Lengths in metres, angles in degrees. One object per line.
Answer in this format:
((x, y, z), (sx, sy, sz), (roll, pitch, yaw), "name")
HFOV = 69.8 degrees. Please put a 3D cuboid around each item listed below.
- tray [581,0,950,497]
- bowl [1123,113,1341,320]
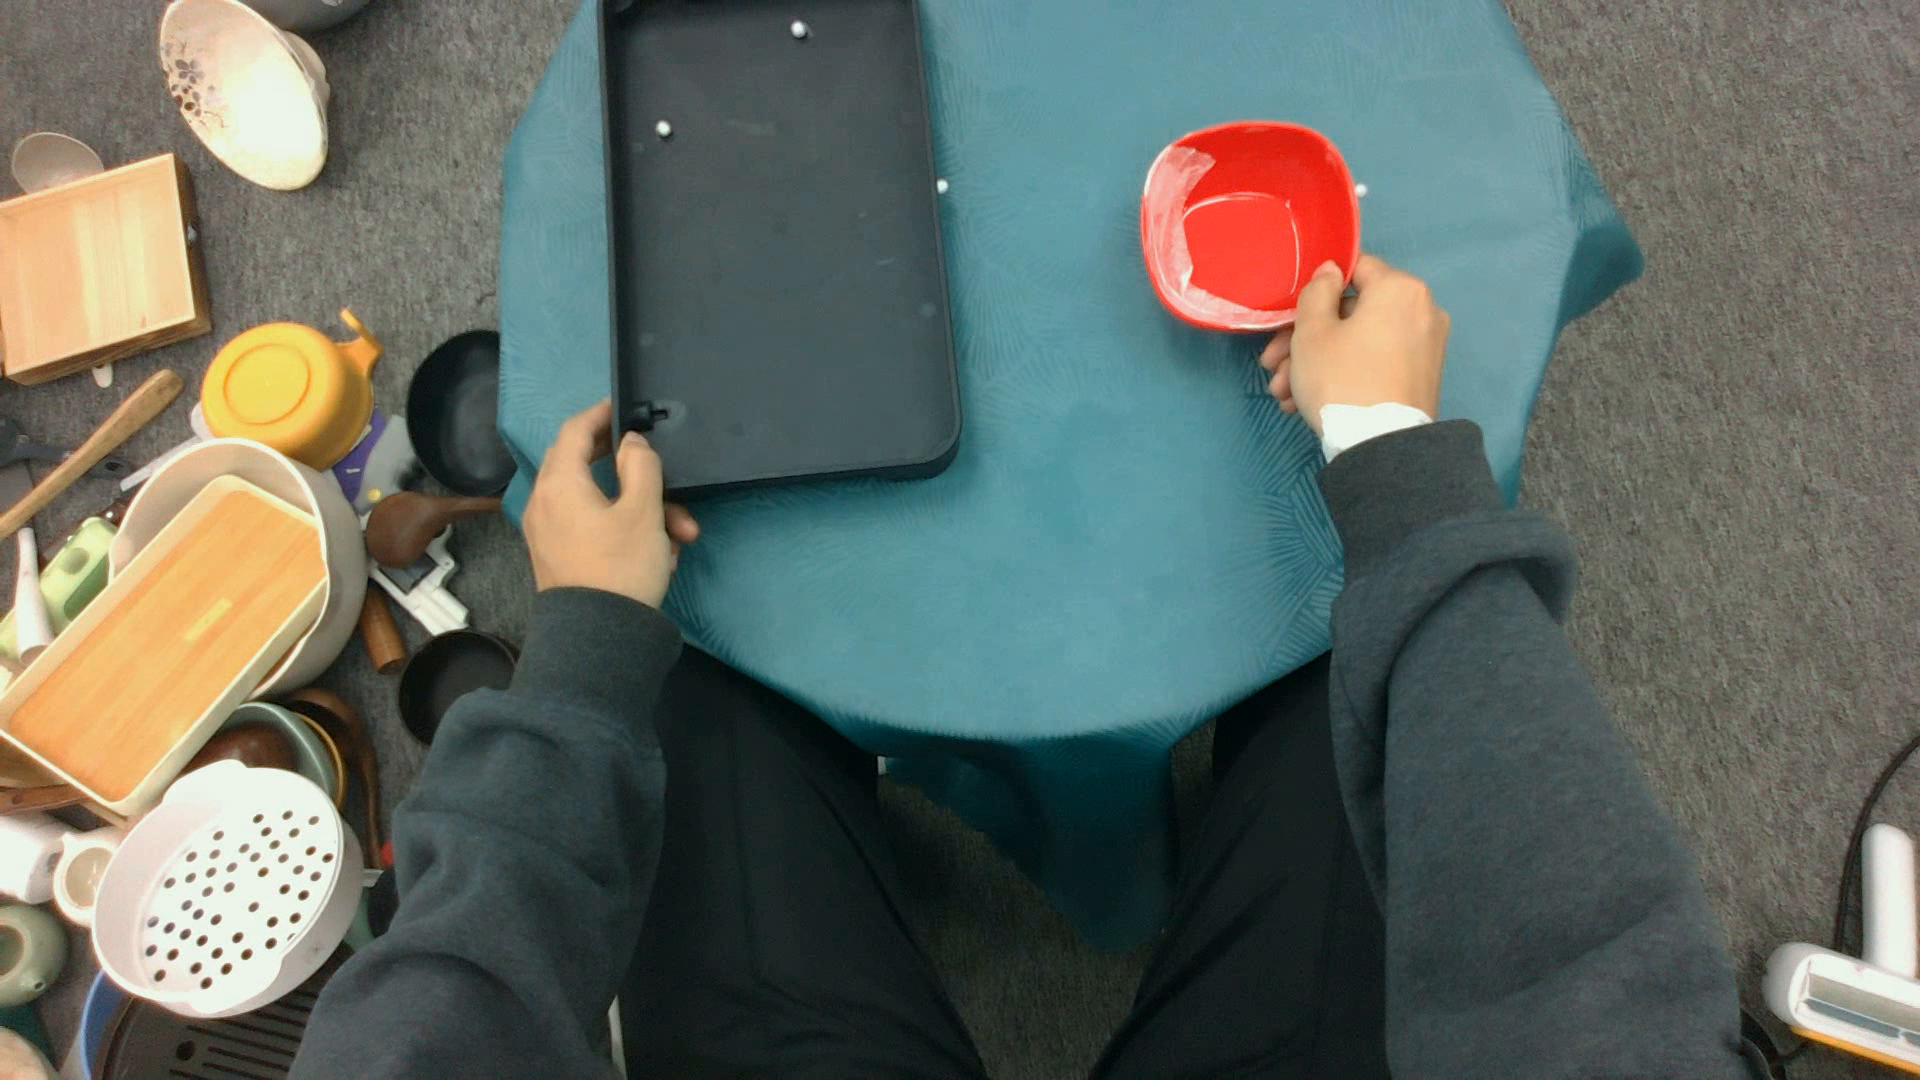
((-0.110, -0.184, 0.763), (0.184, 0.037, 0.318), (-7, 74, 1), "tray")
((0.140, -0.164, 0.729), (0.119, 0.051, 0.119), (0, 80, 3), "bowl")
